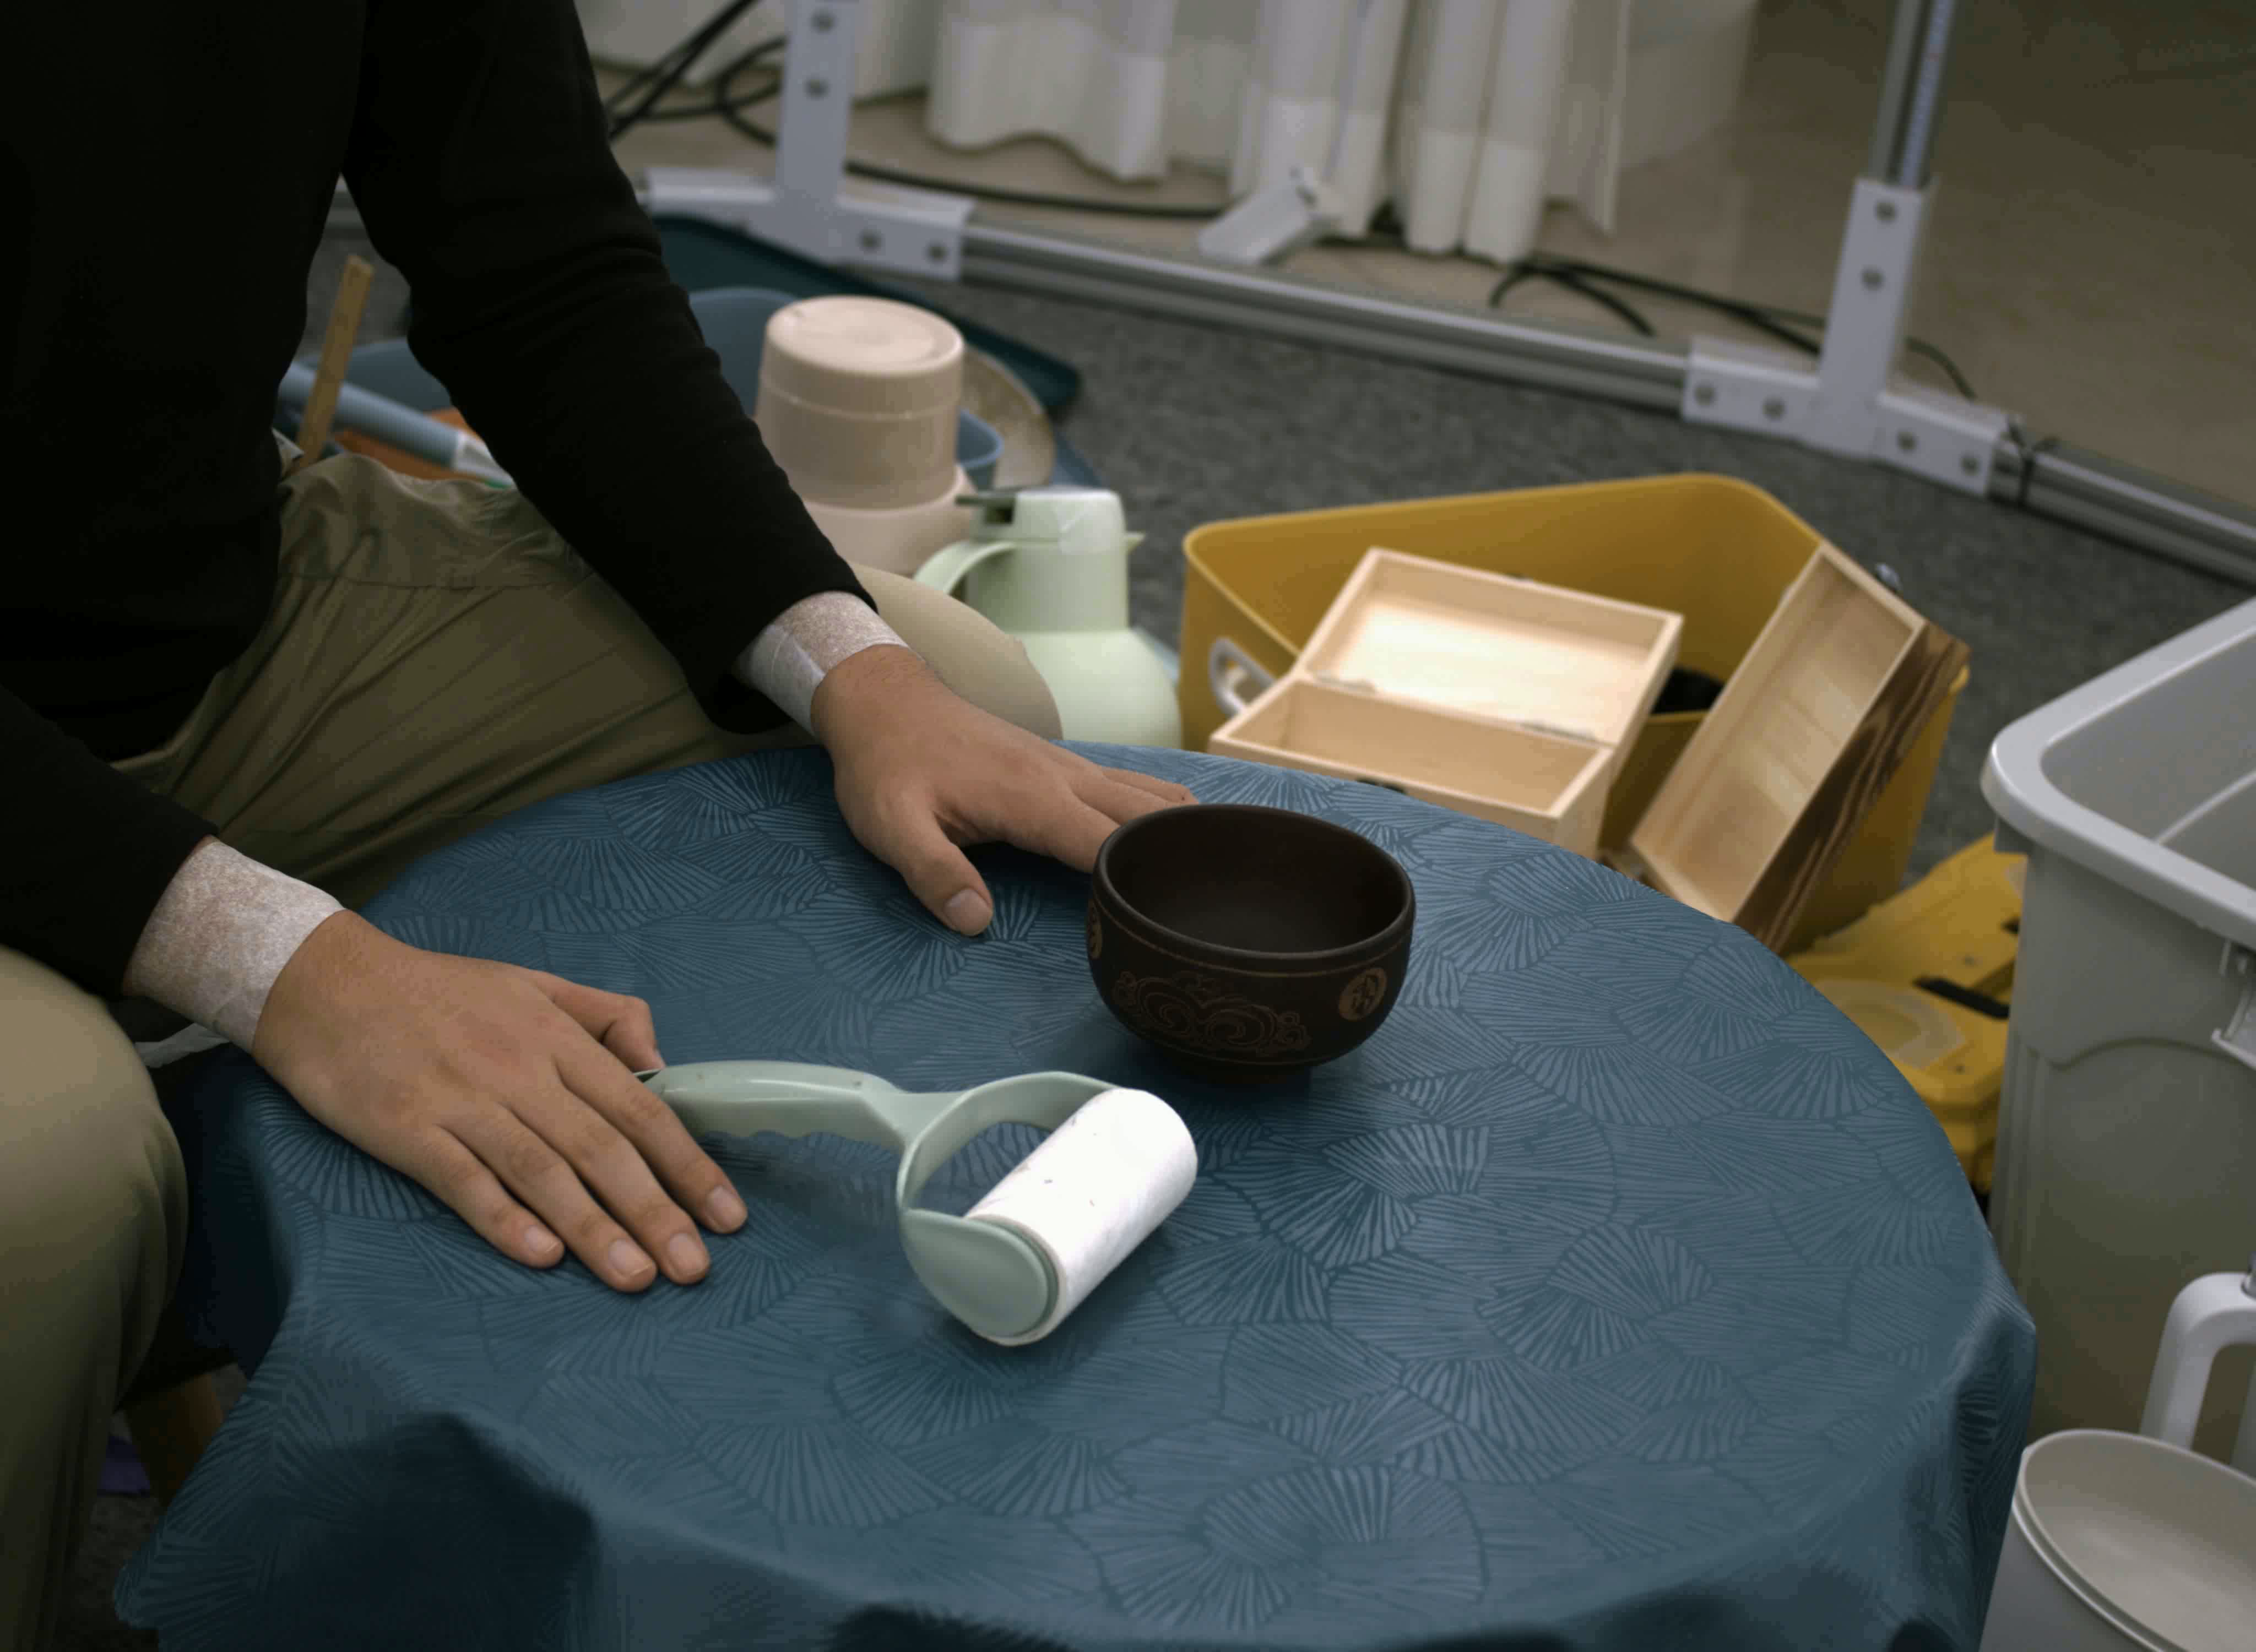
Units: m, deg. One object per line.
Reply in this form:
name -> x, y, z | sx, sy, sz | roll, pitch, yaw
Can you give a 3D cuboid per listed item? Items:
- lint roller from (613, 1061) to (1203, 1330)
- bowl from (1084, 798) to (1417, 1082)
lint roller -> -0.082, 0.105, 1.772 | 0.198, 0.048, 0.116 | 16, 29, 22
bowl -> 0.042, 0.047, 1.883 | 0.117, 0.069, 0.119 | 4, 27, -2
